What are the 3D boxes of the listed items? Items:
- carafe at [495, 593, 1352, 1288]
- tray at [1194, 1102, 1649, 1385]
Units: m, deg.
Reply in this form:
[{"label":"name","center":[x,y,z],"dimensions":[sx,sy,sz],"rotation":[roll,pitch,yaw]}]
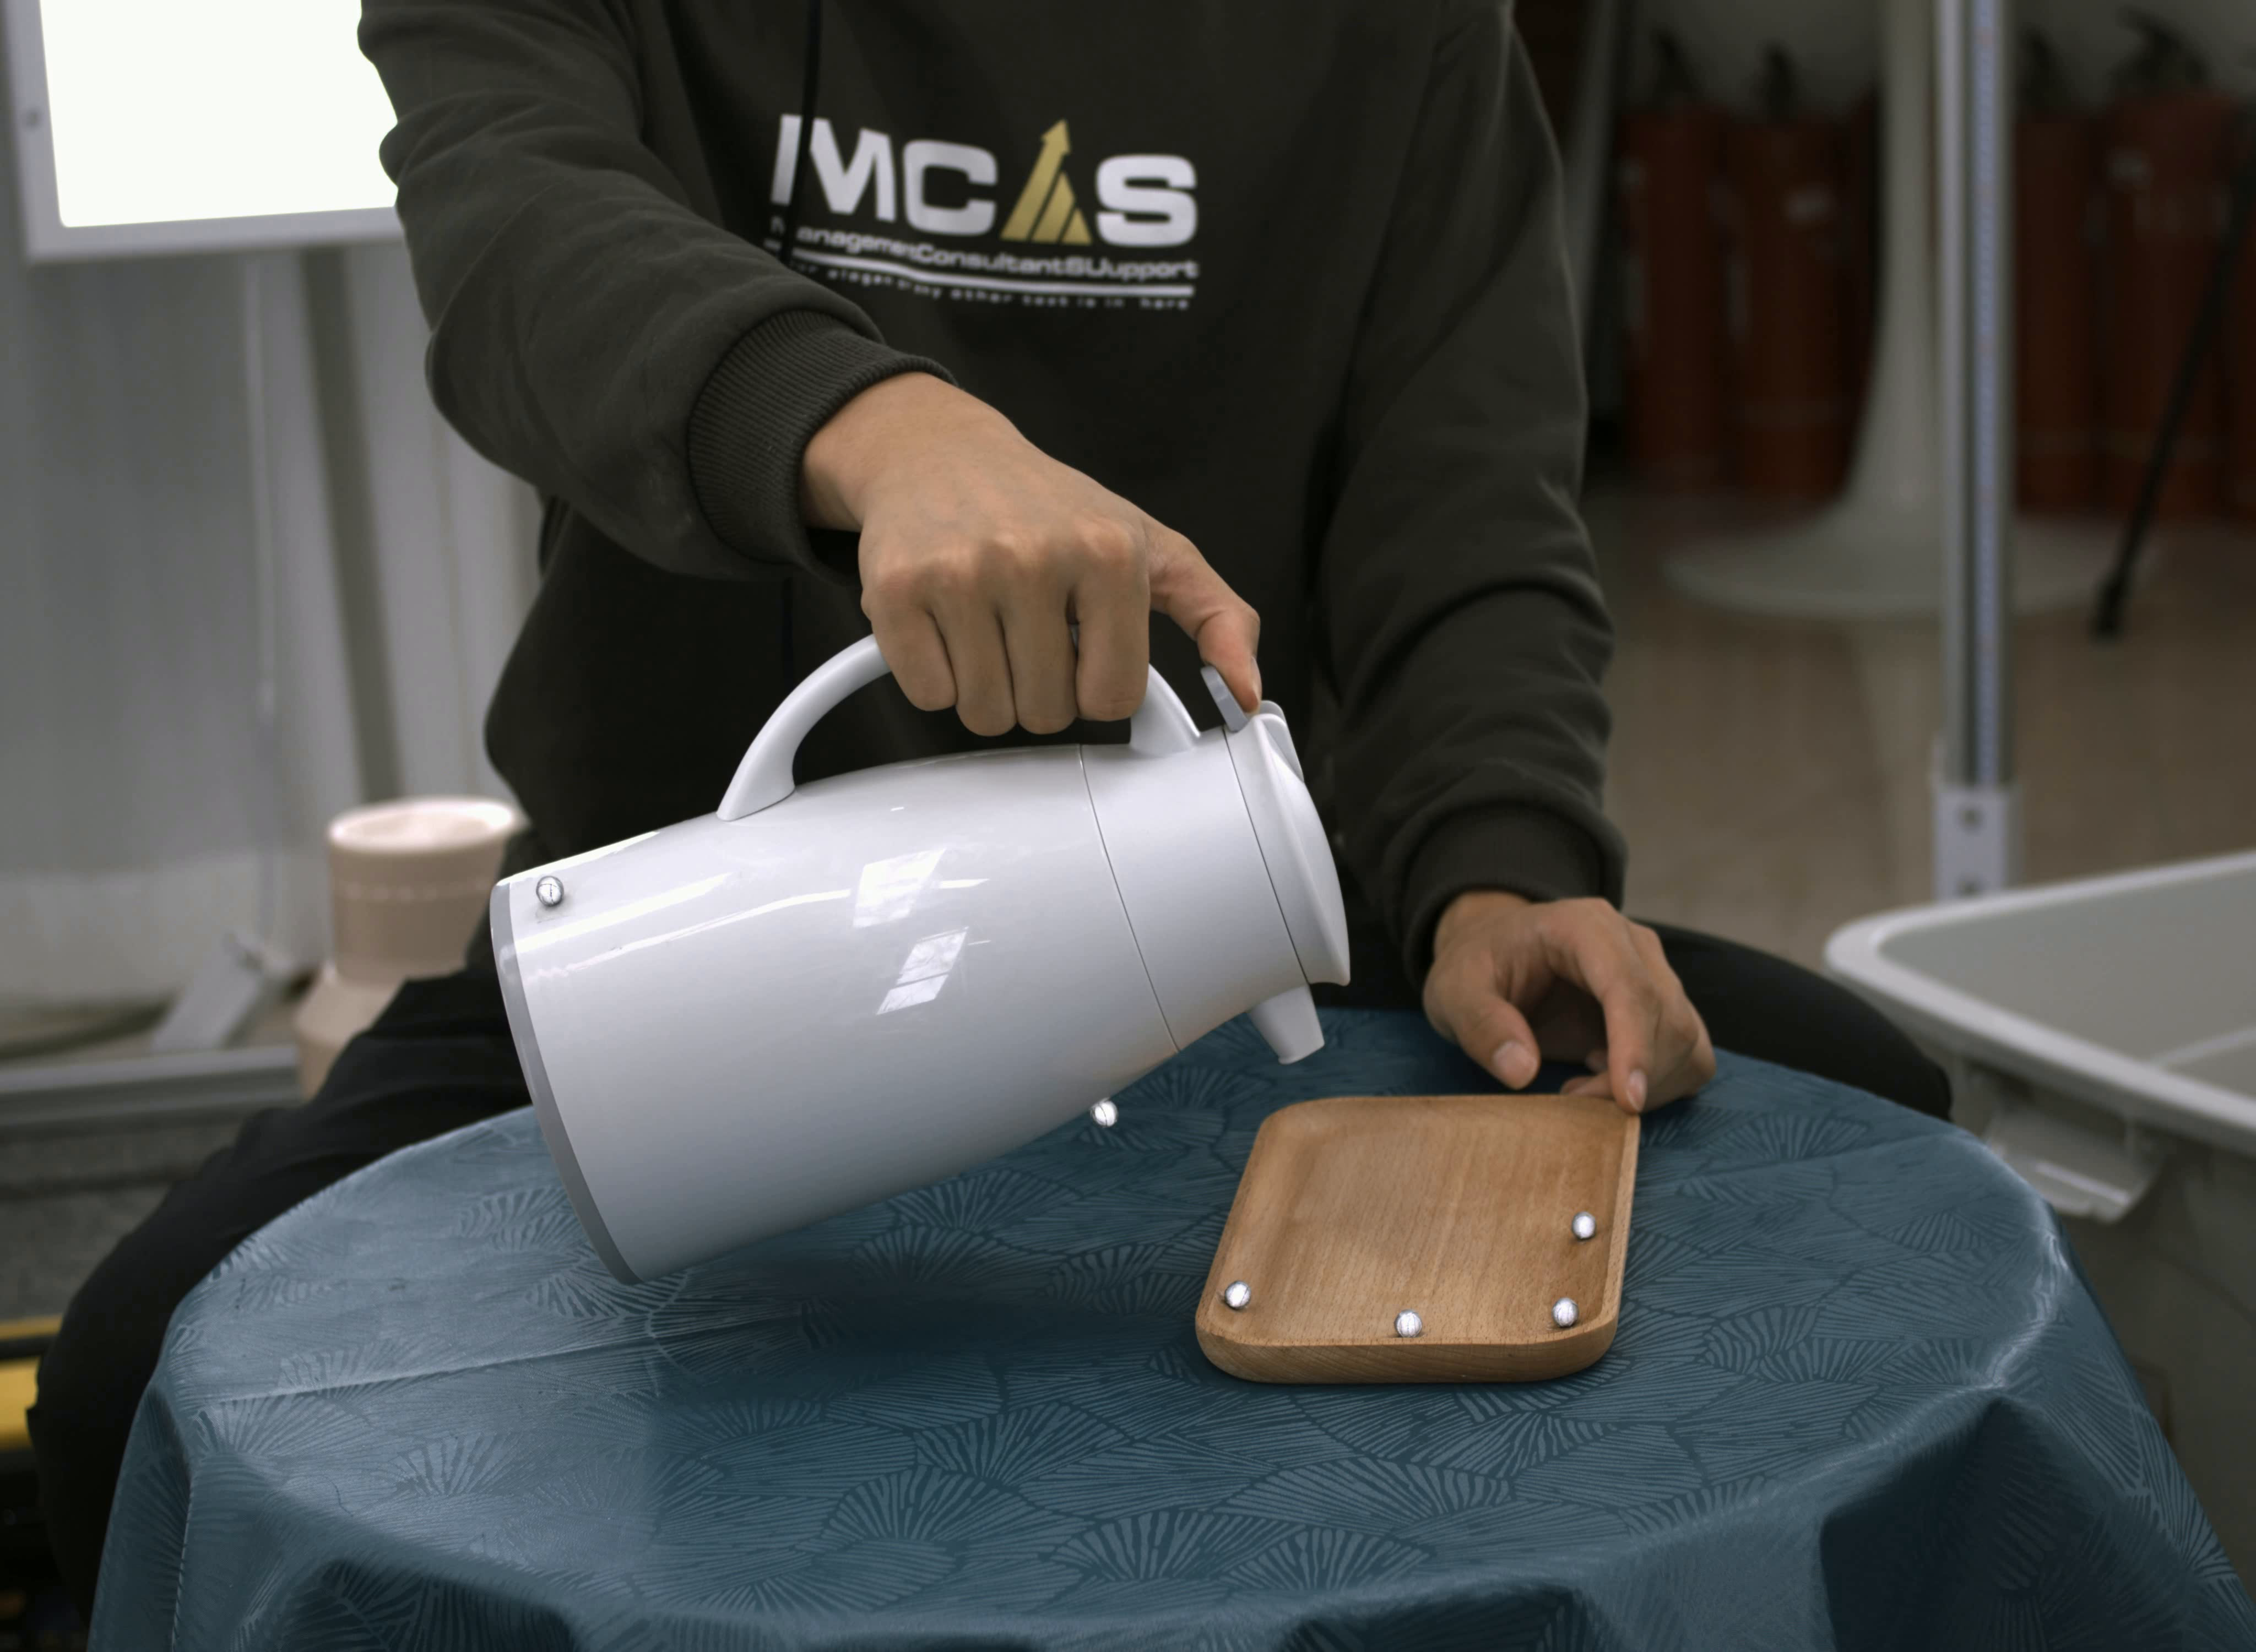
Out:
[{"label":"carafe","center":[-0.062,0.022,1.638],"dimensions":[0.246,0.169,0.132],"rotation":[-18,10,5]},{"label":"tray","center":[0.096,0.128,1.688],"dimensions":[0.129,0.023,0.249],"rotation":[1,13,9]}]
